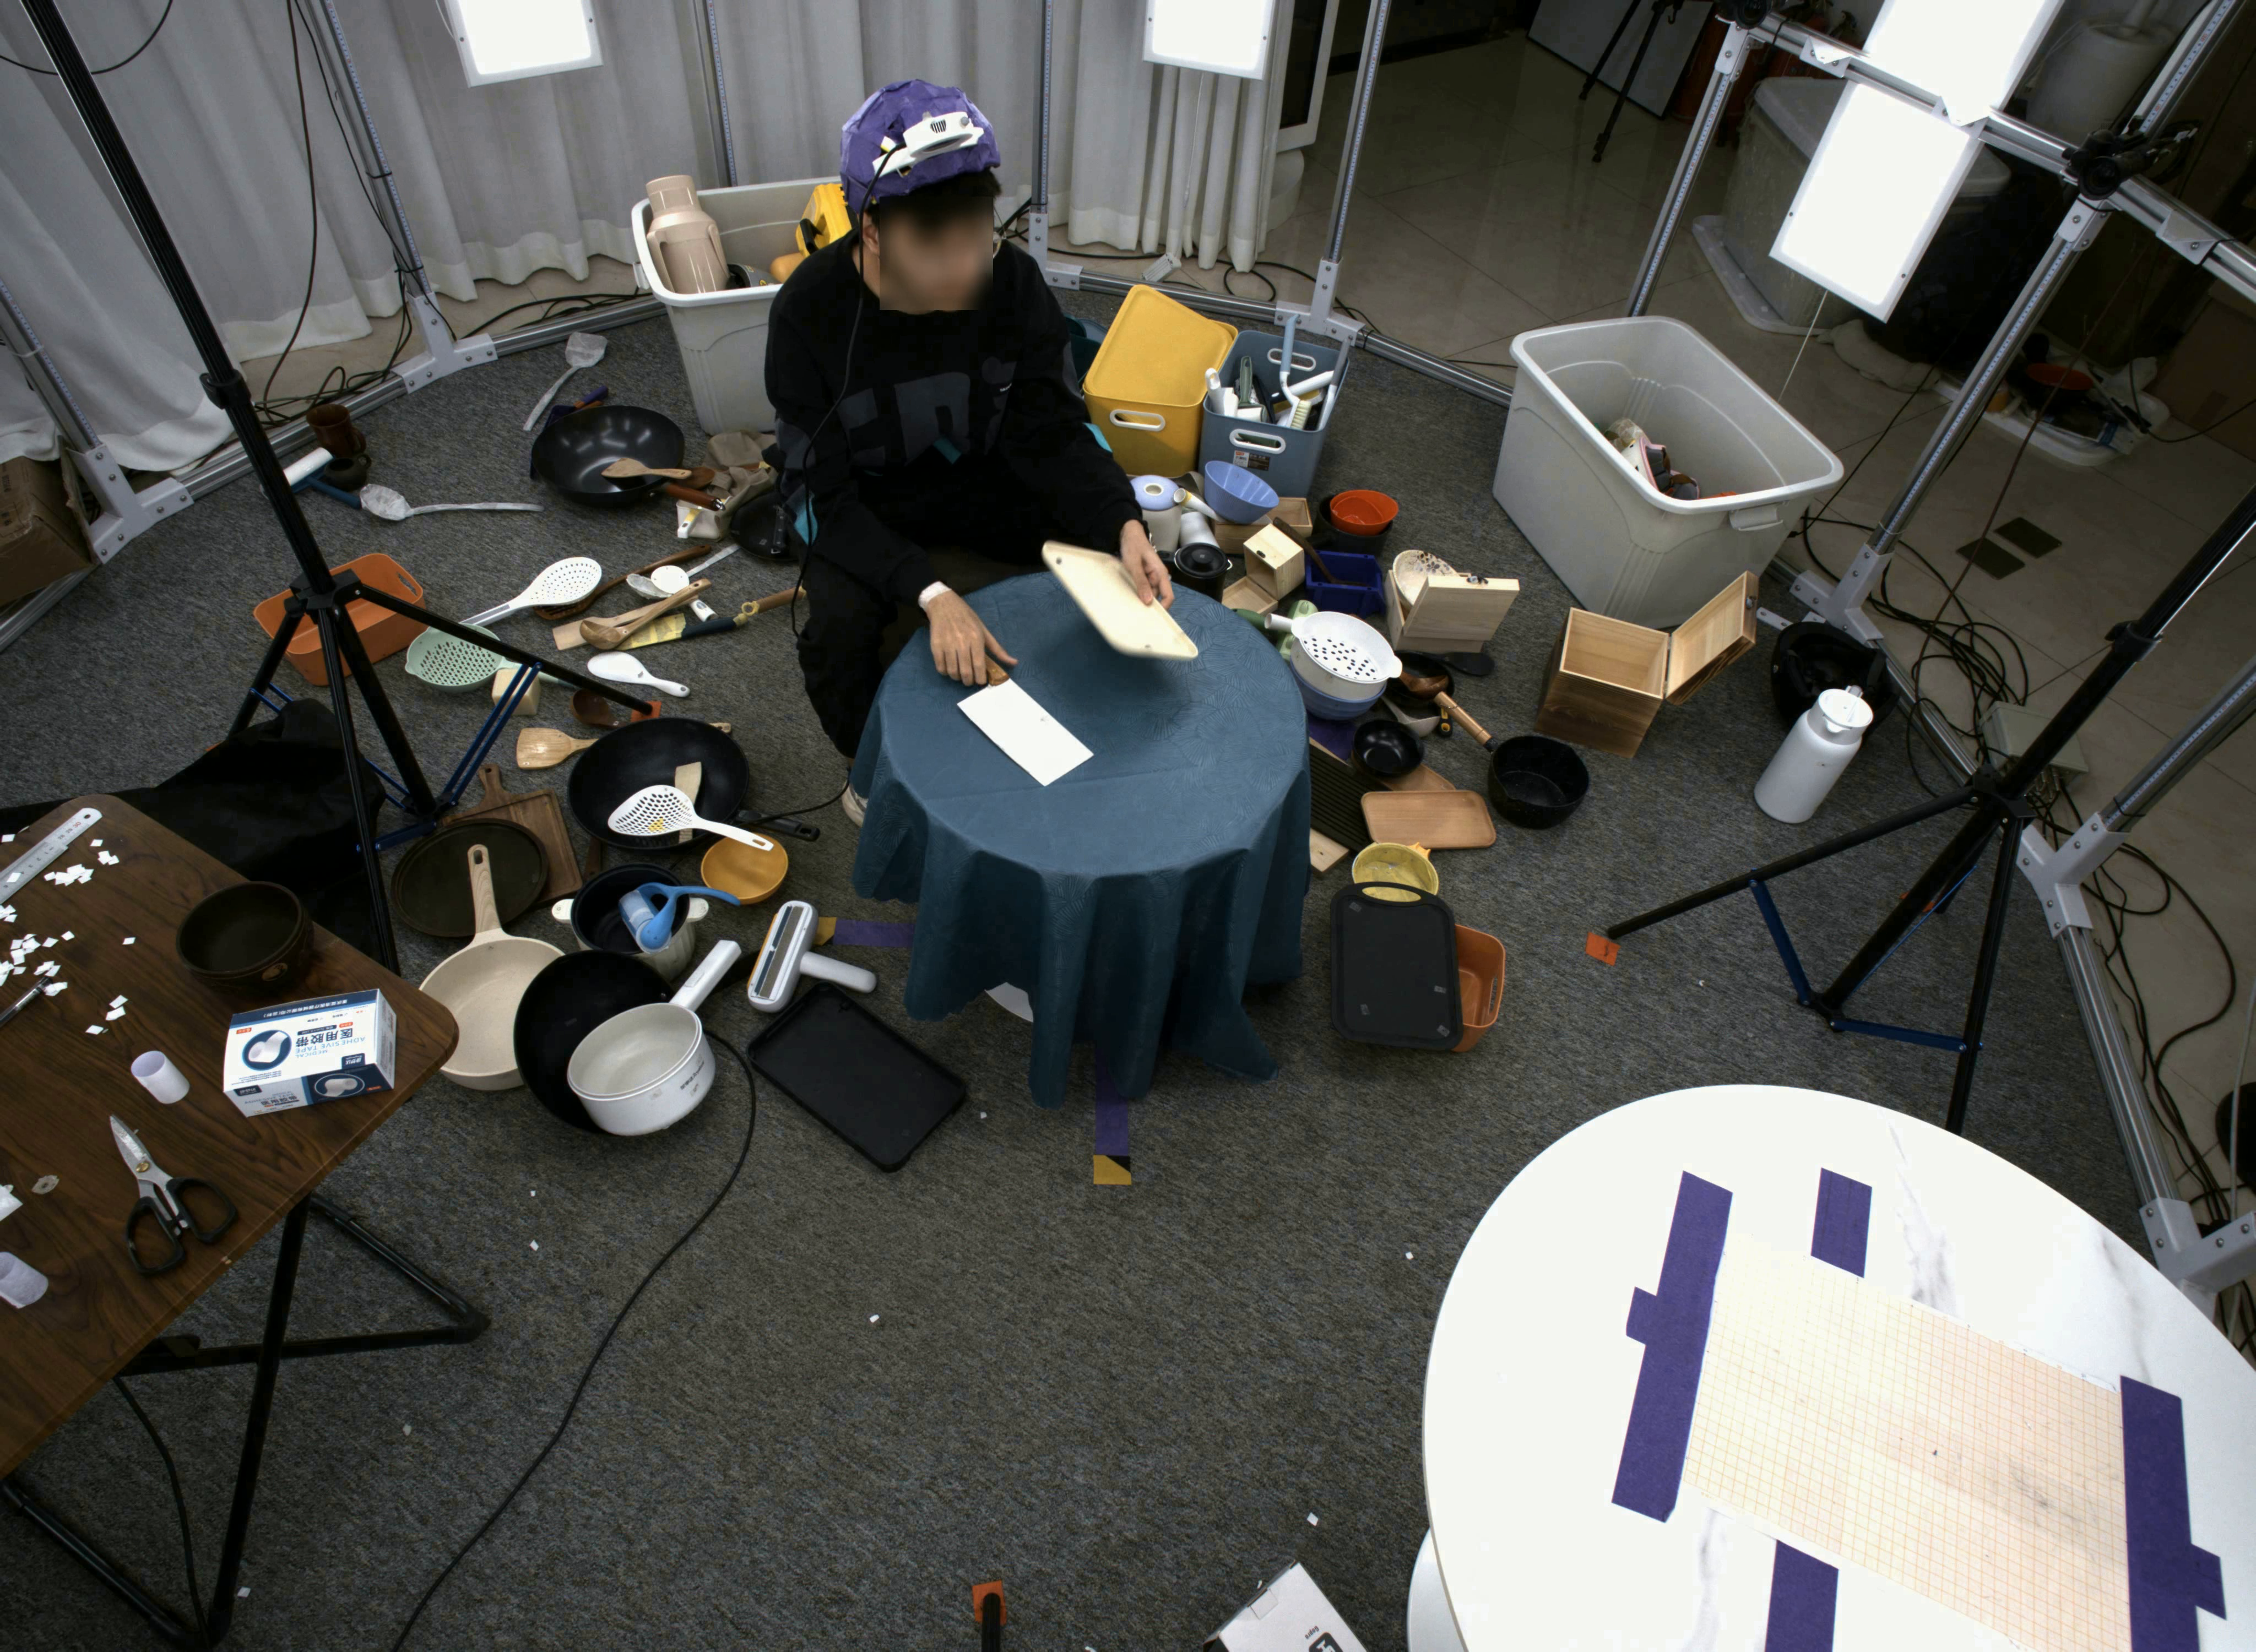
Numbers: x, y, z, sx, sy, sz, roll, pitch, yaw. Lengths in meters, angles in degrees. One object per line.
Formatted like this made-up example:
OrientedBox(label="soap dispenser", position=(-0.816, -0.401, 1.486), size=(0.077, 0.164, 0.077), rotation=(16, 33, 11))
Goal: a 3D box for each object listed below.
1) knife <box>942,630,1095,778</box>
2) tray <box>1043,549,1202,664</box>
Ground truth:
OrientedBox(label="knife", position=(-0.175, -0.170, 1.794), size=(0.093, 0.020, 0.310), rotation=(-33, 61, -26))
OrientedBox(label="tray", position=(-0.010, -0.308, 1.813), size=(0.170, 0.017, 0.244), rotation=(-3, 46, -43))
